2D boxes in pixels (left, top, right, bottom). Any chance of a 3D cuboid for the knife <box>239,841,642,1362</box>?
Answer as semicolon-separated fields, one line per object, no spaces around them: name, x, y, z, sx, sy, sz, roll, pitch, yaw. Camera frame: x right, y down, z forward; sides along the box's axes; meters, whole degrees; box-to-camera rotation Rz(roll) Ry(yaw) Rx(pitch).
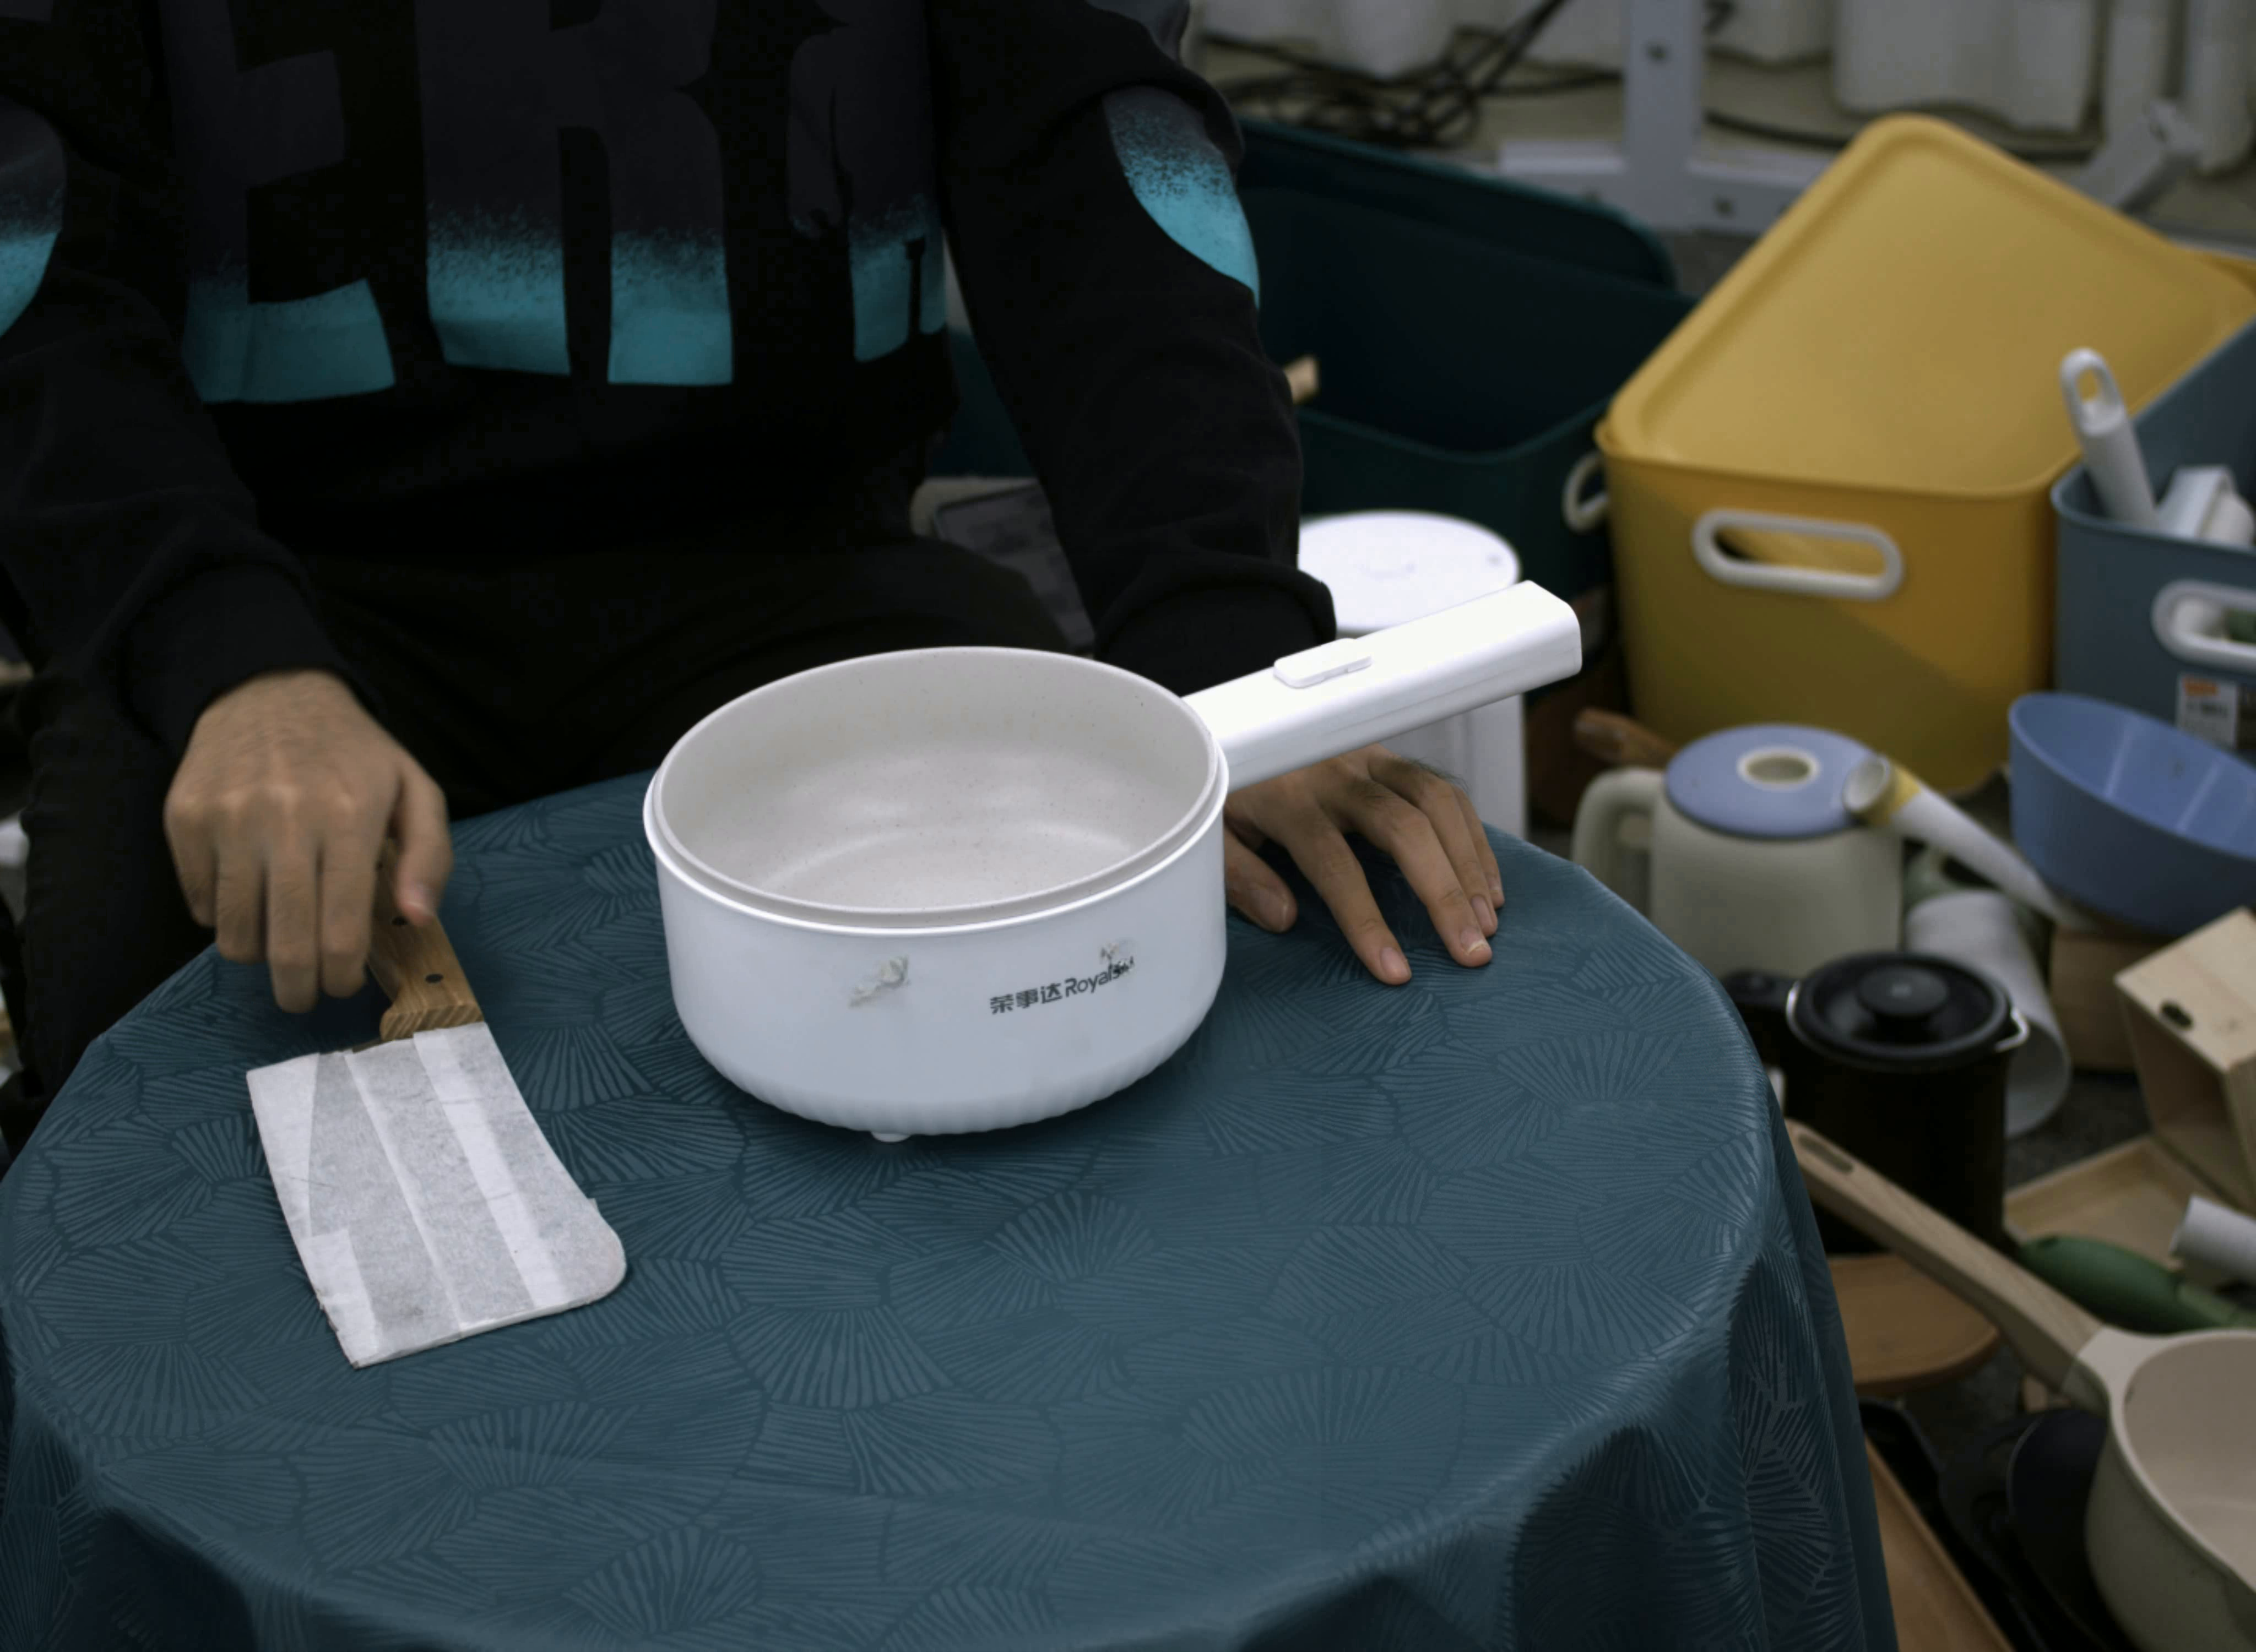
knife;-0.246;0.090;1.928;0.114;0.021;0.319;-10;31;-12

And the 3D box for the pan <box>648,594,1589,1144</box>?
pan;0.004;0.008;1.977;0.357;0.101;0.202;-17;29;-26
